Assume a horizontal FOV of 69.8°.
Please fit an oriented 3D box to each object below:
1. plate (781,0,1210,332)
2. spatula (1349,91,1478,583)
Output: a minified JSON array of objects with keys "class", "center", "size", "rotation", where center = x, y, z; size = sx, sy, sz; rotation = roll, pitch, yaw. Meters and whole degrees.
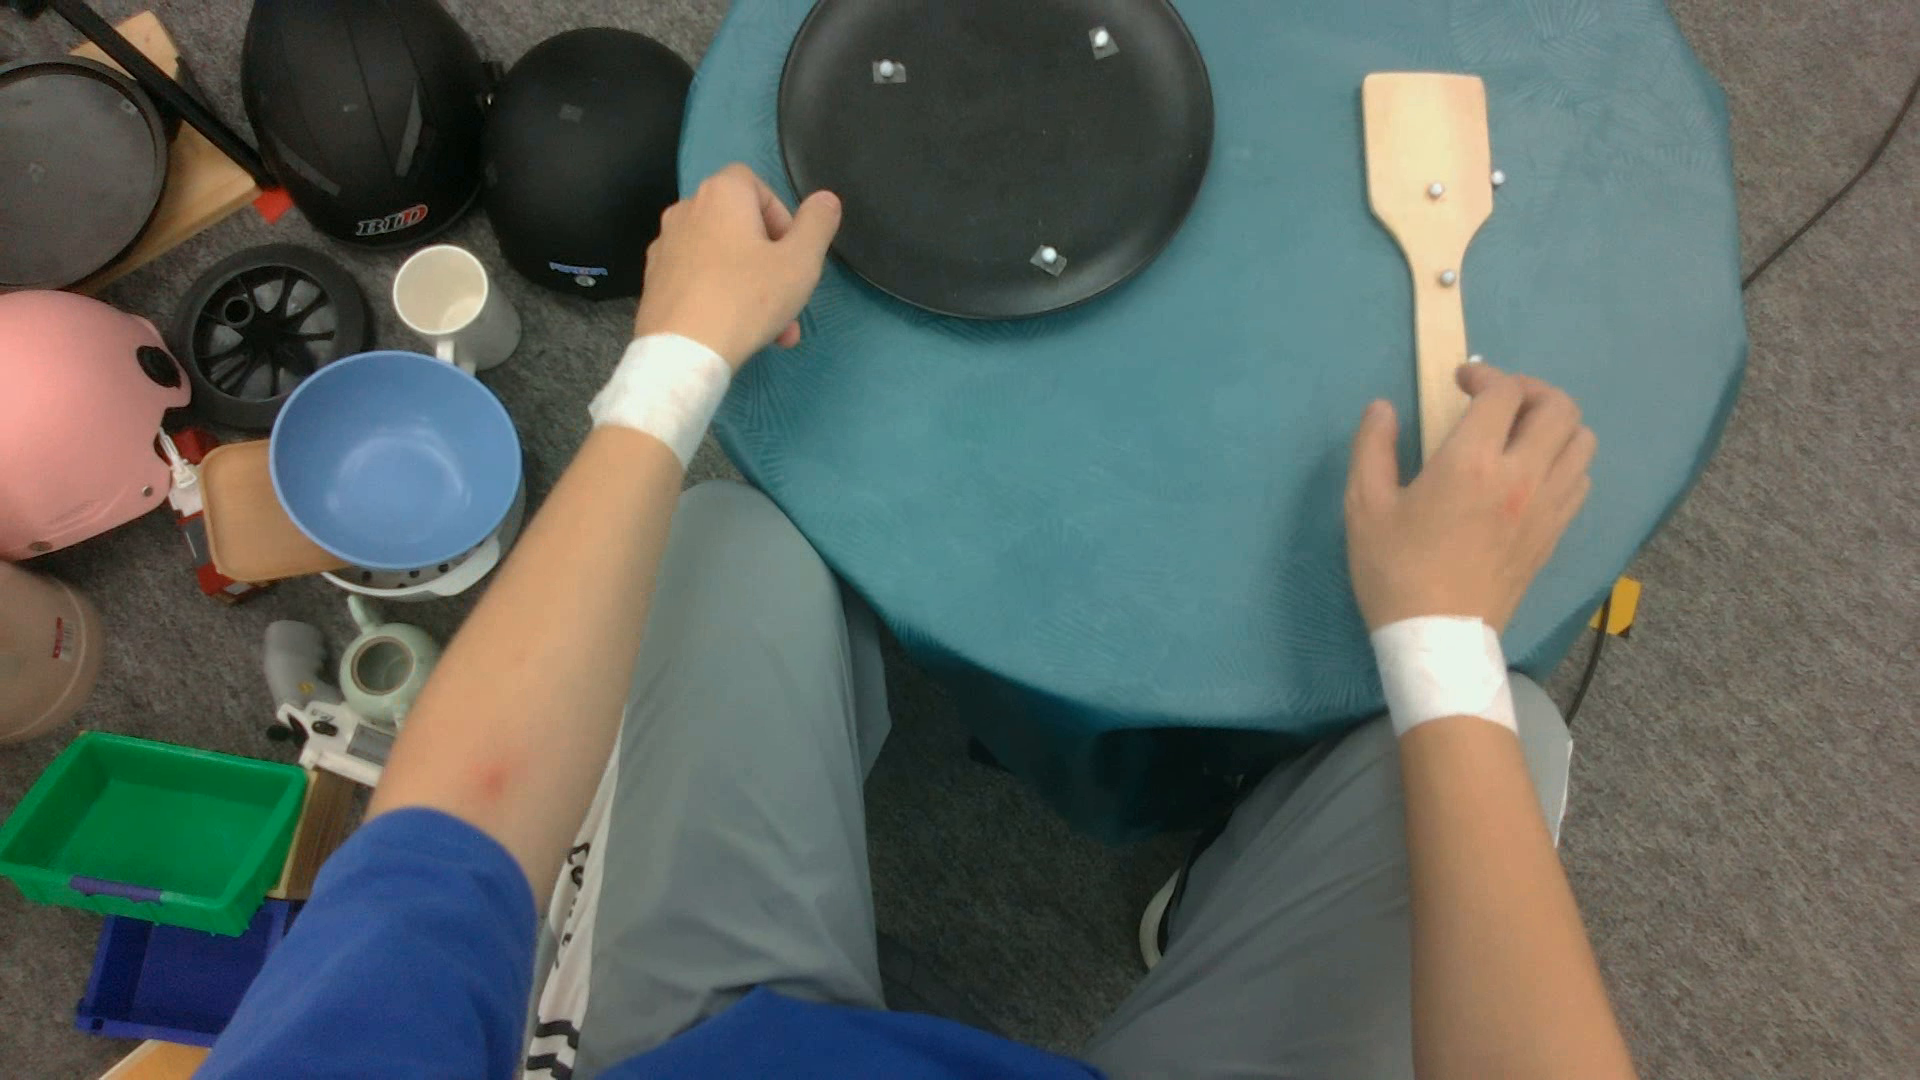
[{"class":"plate","center":[0.020,-0.231,0.790],"size":[0.244,0.023,0.245],"rotation":[0,76,0]},{"class":"spatula","center":[0.263,-0.119,0.769],"size":[0.072,0.010,0.293],"rotation":[0,75,-1]}]
